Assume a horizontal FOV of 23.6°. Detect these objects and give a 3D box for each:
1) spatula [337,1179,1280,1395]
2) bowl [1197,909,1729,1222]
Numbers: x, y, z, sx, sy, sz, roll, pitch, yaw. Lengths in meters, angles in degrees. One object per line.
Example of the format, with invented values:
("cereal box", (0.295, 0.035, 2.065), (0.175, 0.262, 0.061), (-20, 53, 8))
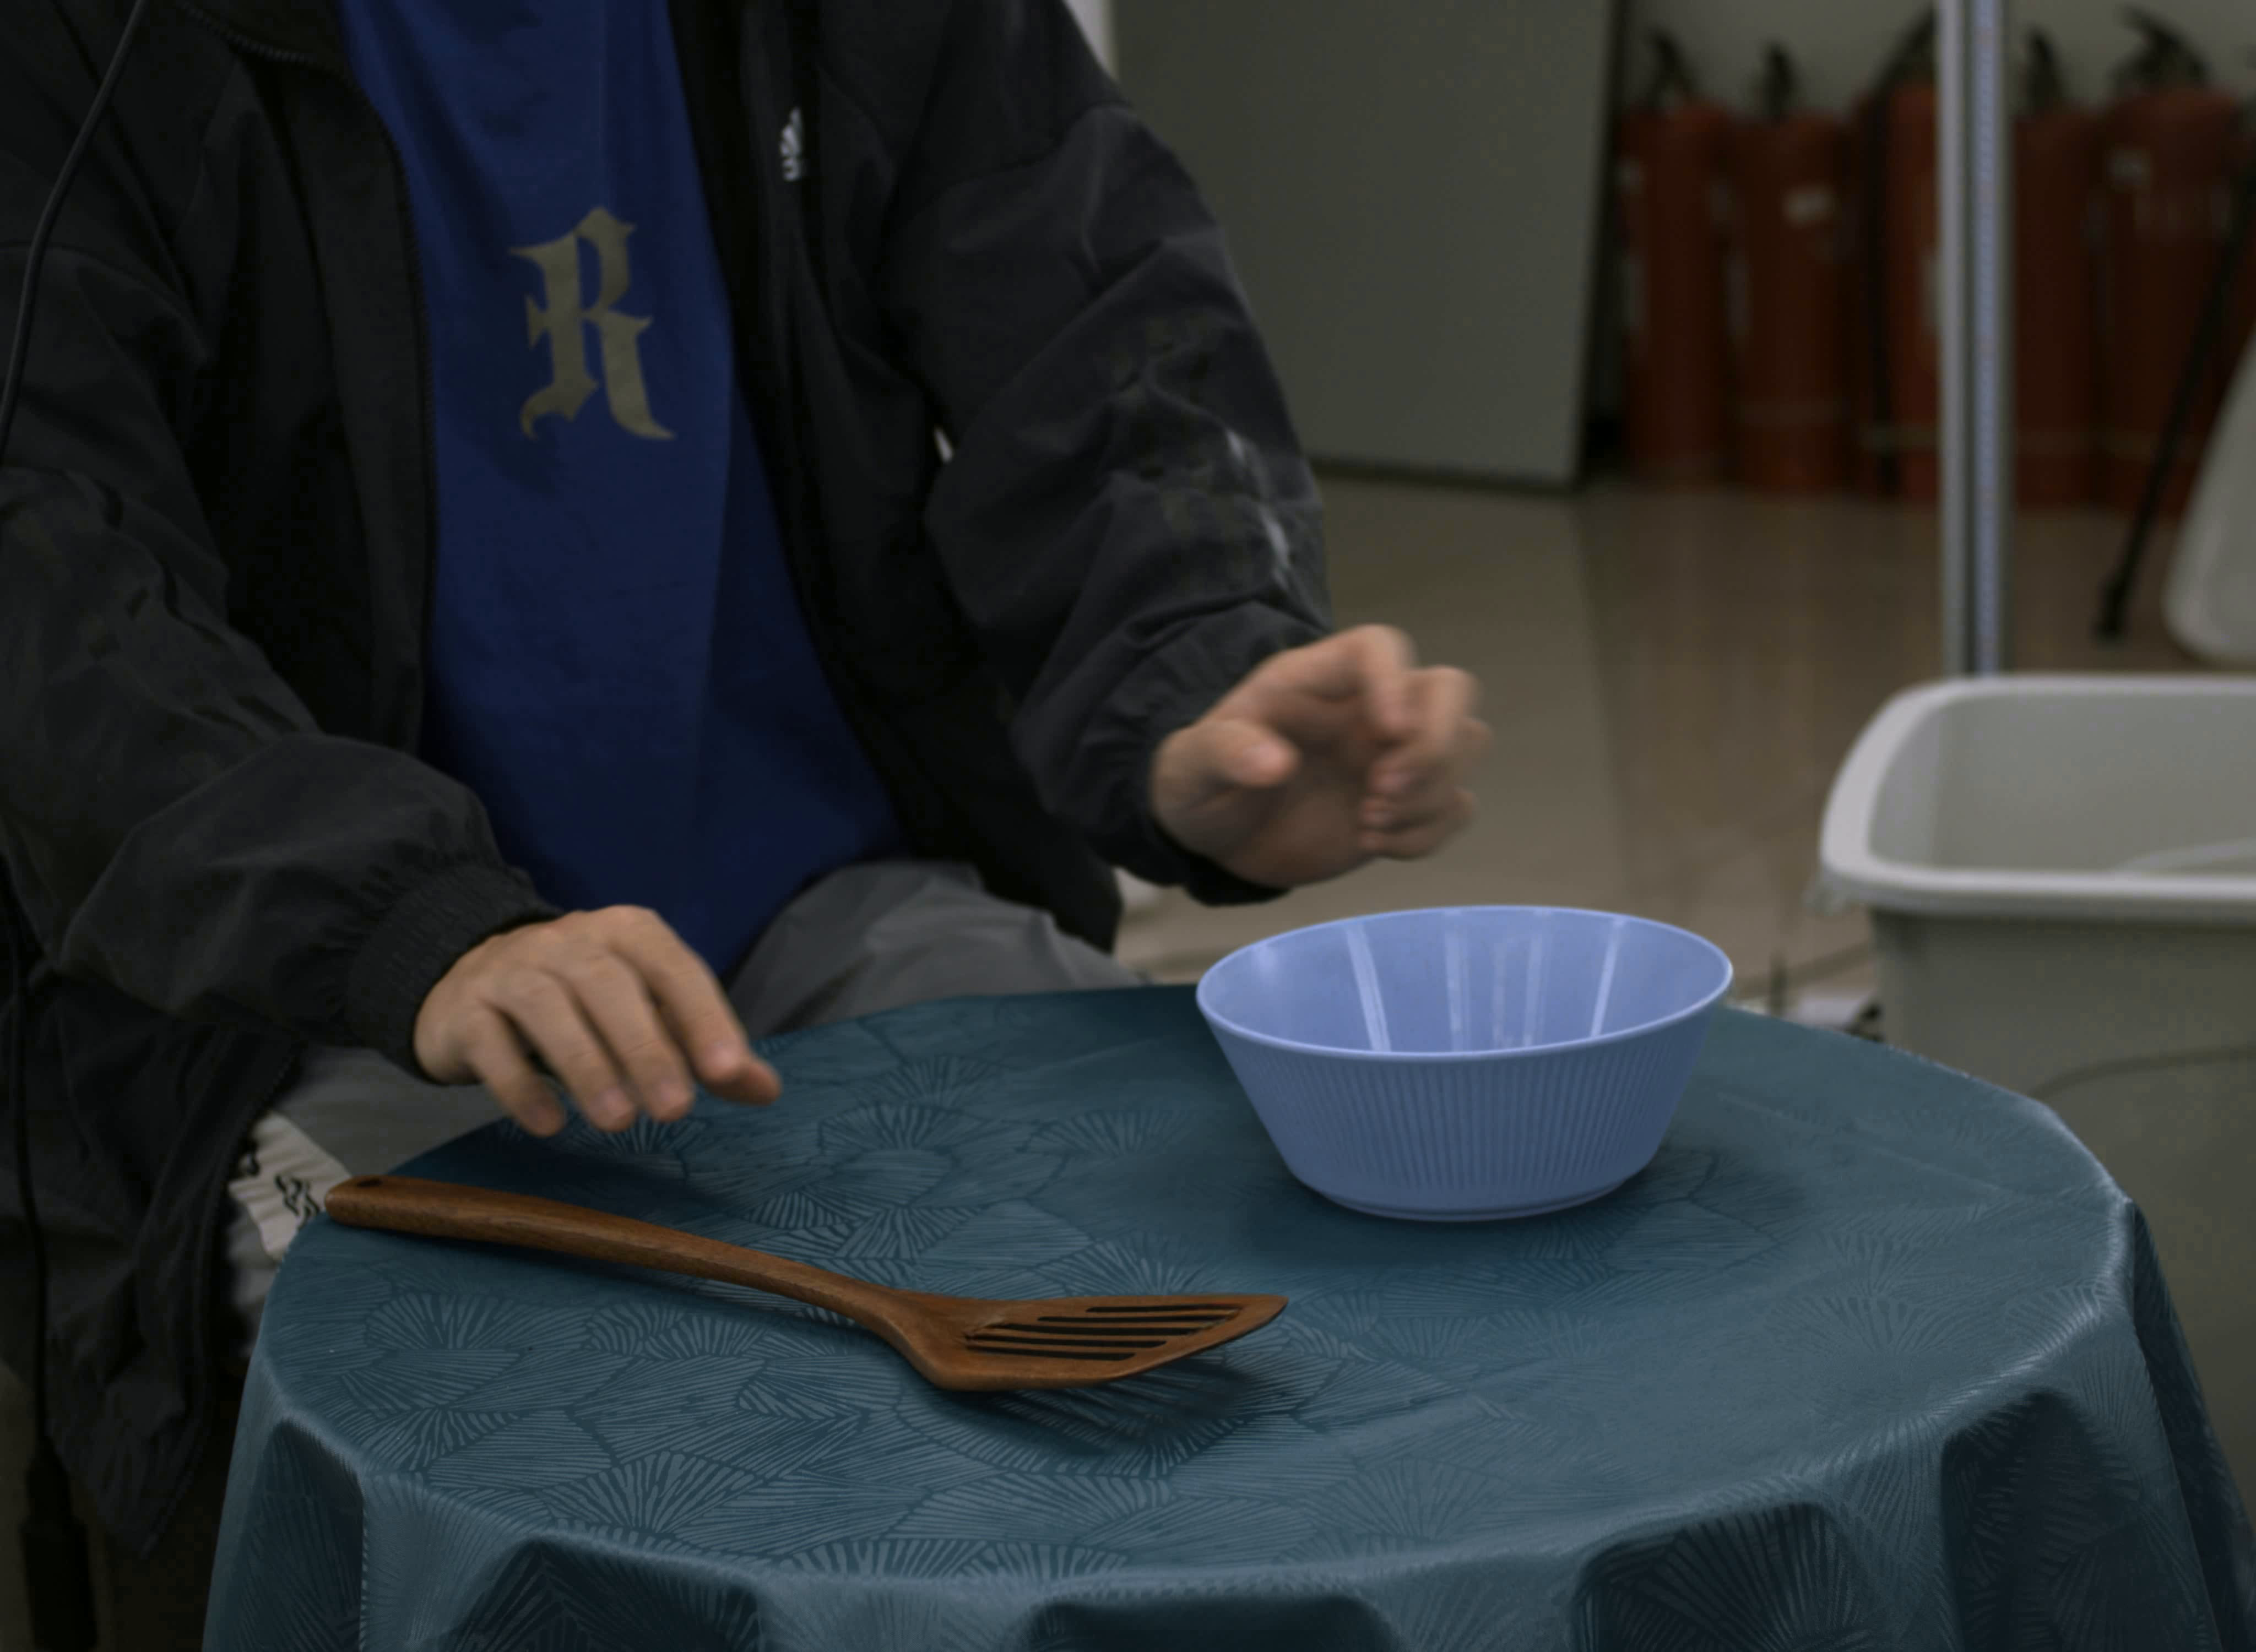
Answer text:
("spatula", (-0.116, 0.141, 1.680), (0.390, 0.024, 0.084), (6, 17, 42))
("bowl", (0.111, 0.080, 1.758), (0.174, 0.071, 0.176), (-4, 13, 0))
